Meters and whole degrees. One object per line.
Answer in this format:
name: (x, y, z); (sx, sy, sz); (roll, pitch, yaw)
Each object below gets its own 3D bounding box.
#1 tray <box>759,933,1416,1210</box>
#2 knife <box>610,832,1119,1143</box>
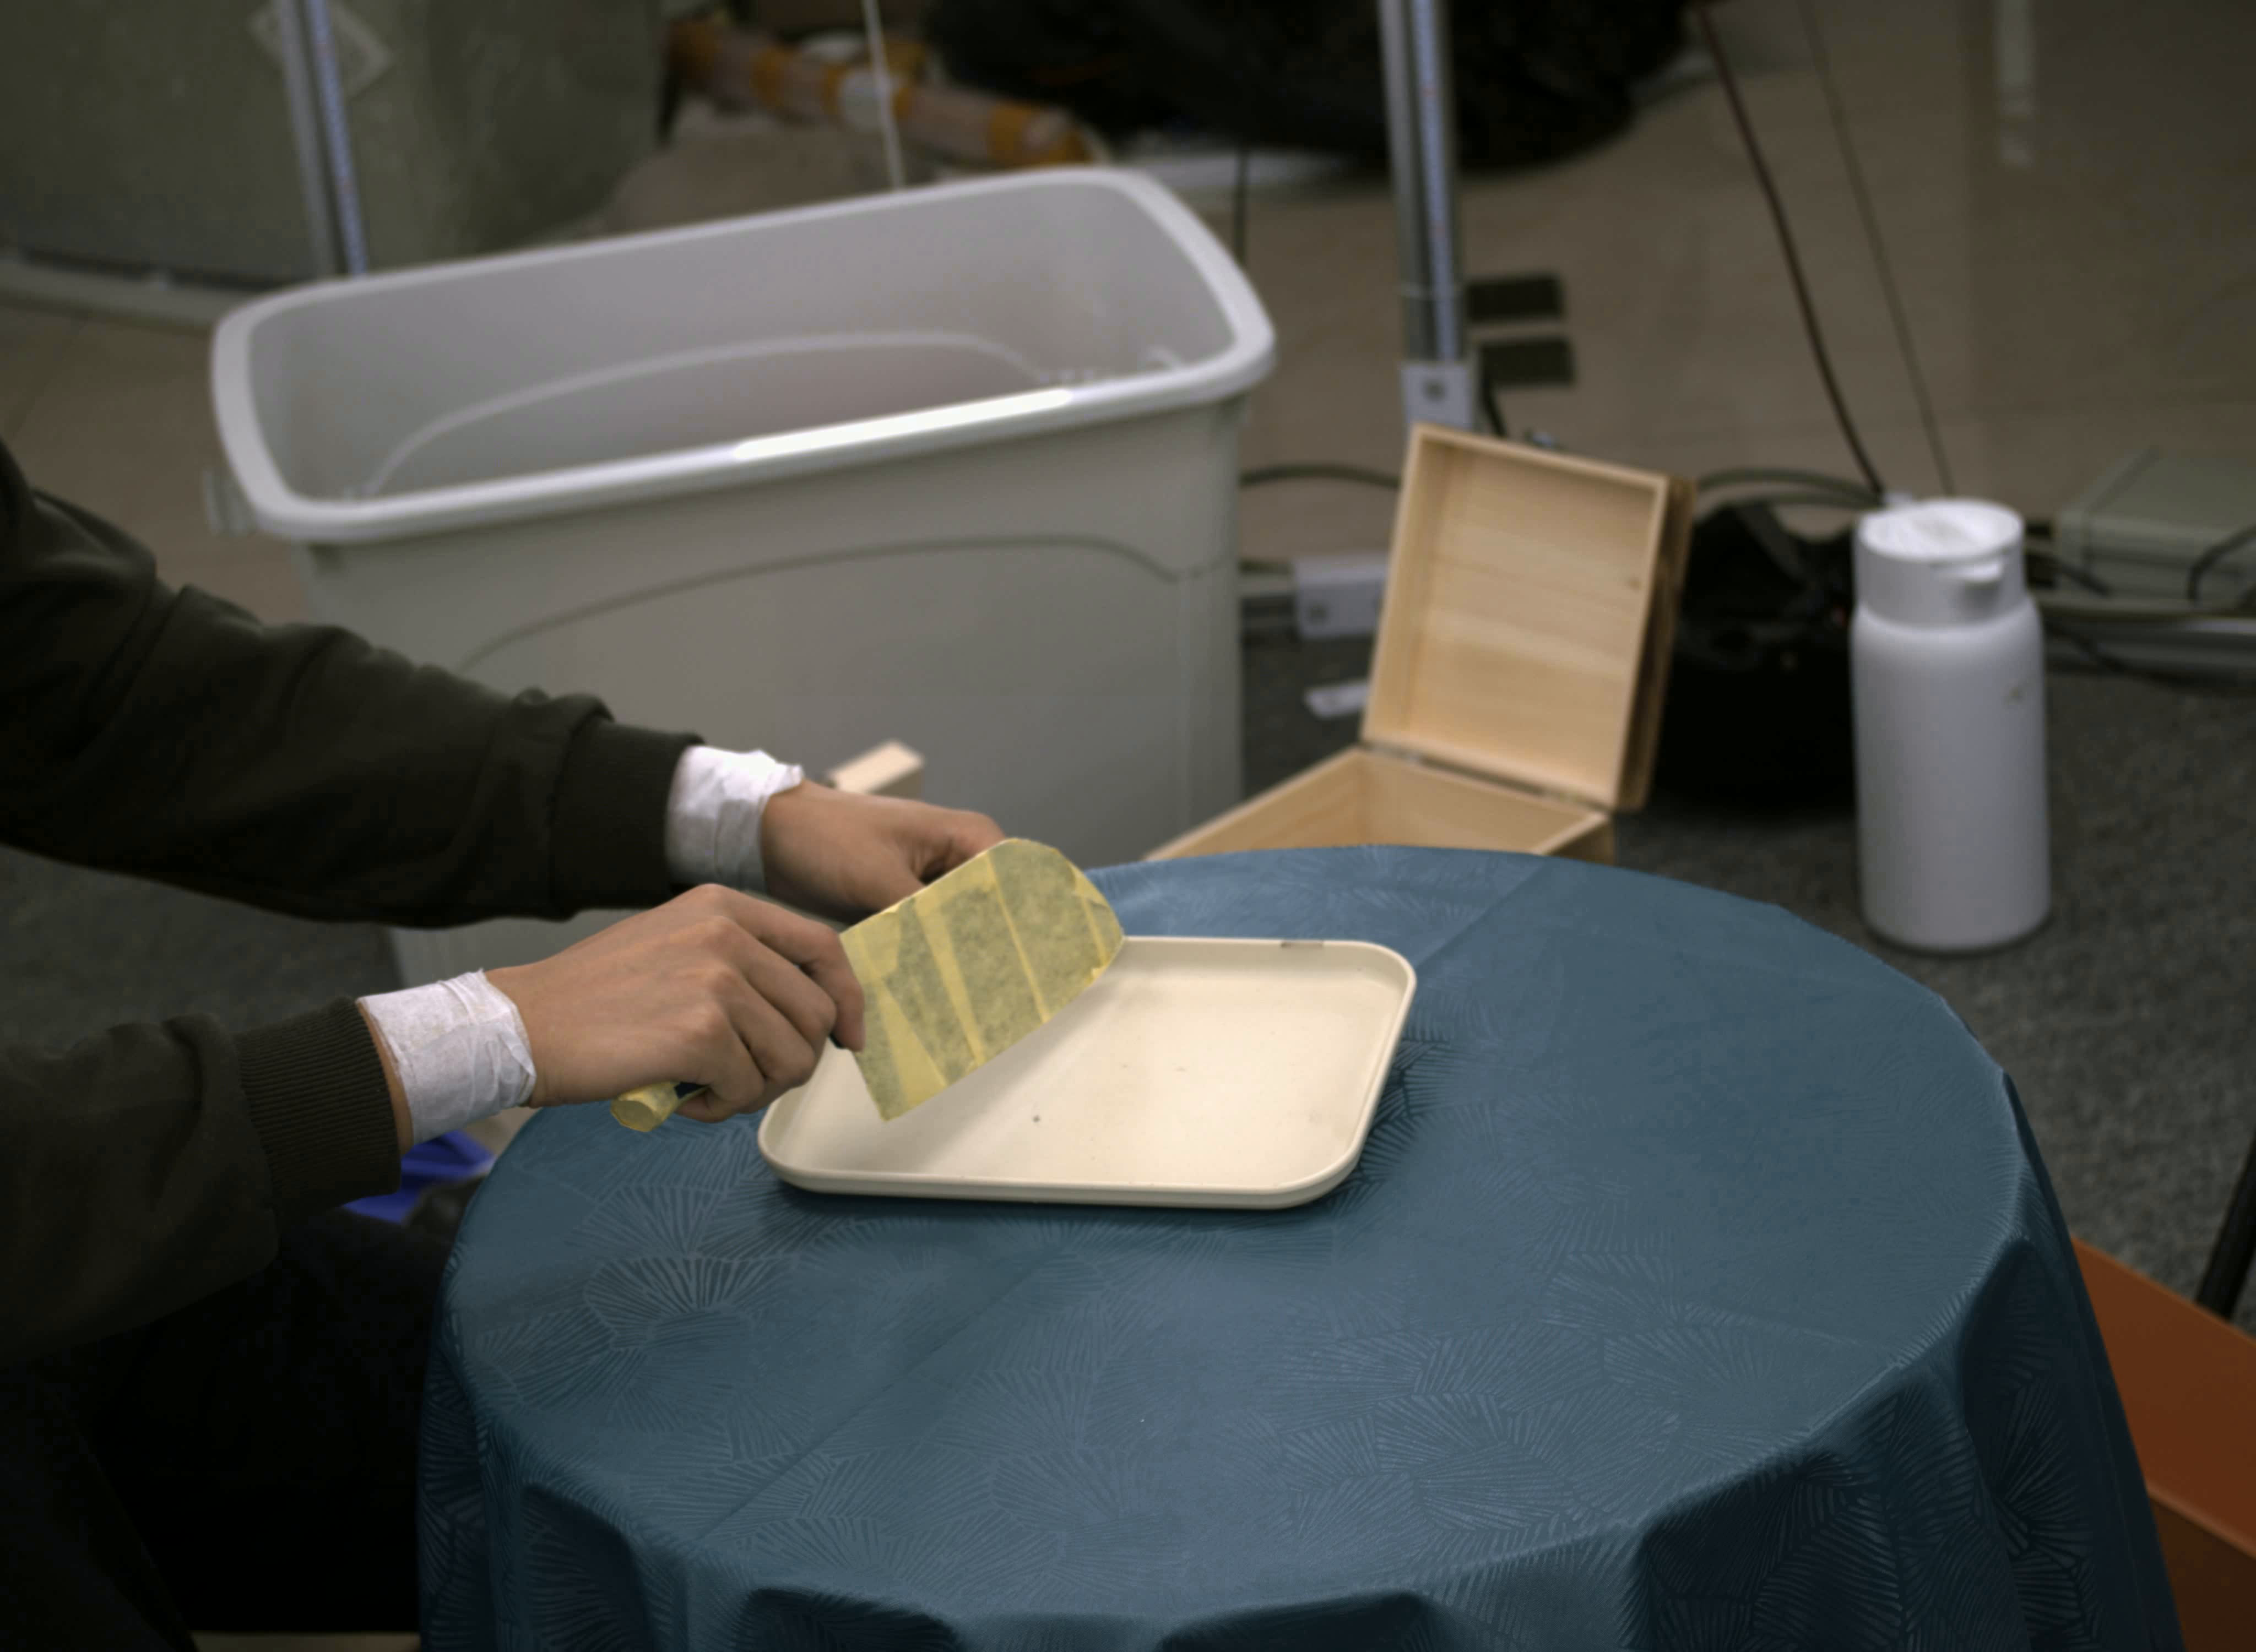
tray: (-0.014, 0.095, 2.207); (0.239, 0.018, 0.168); (1, 34, 16)
knife: (-0.092, 0.071, 2.148); (0.027, 0.081, 0.287); (-13, 9, 42)
